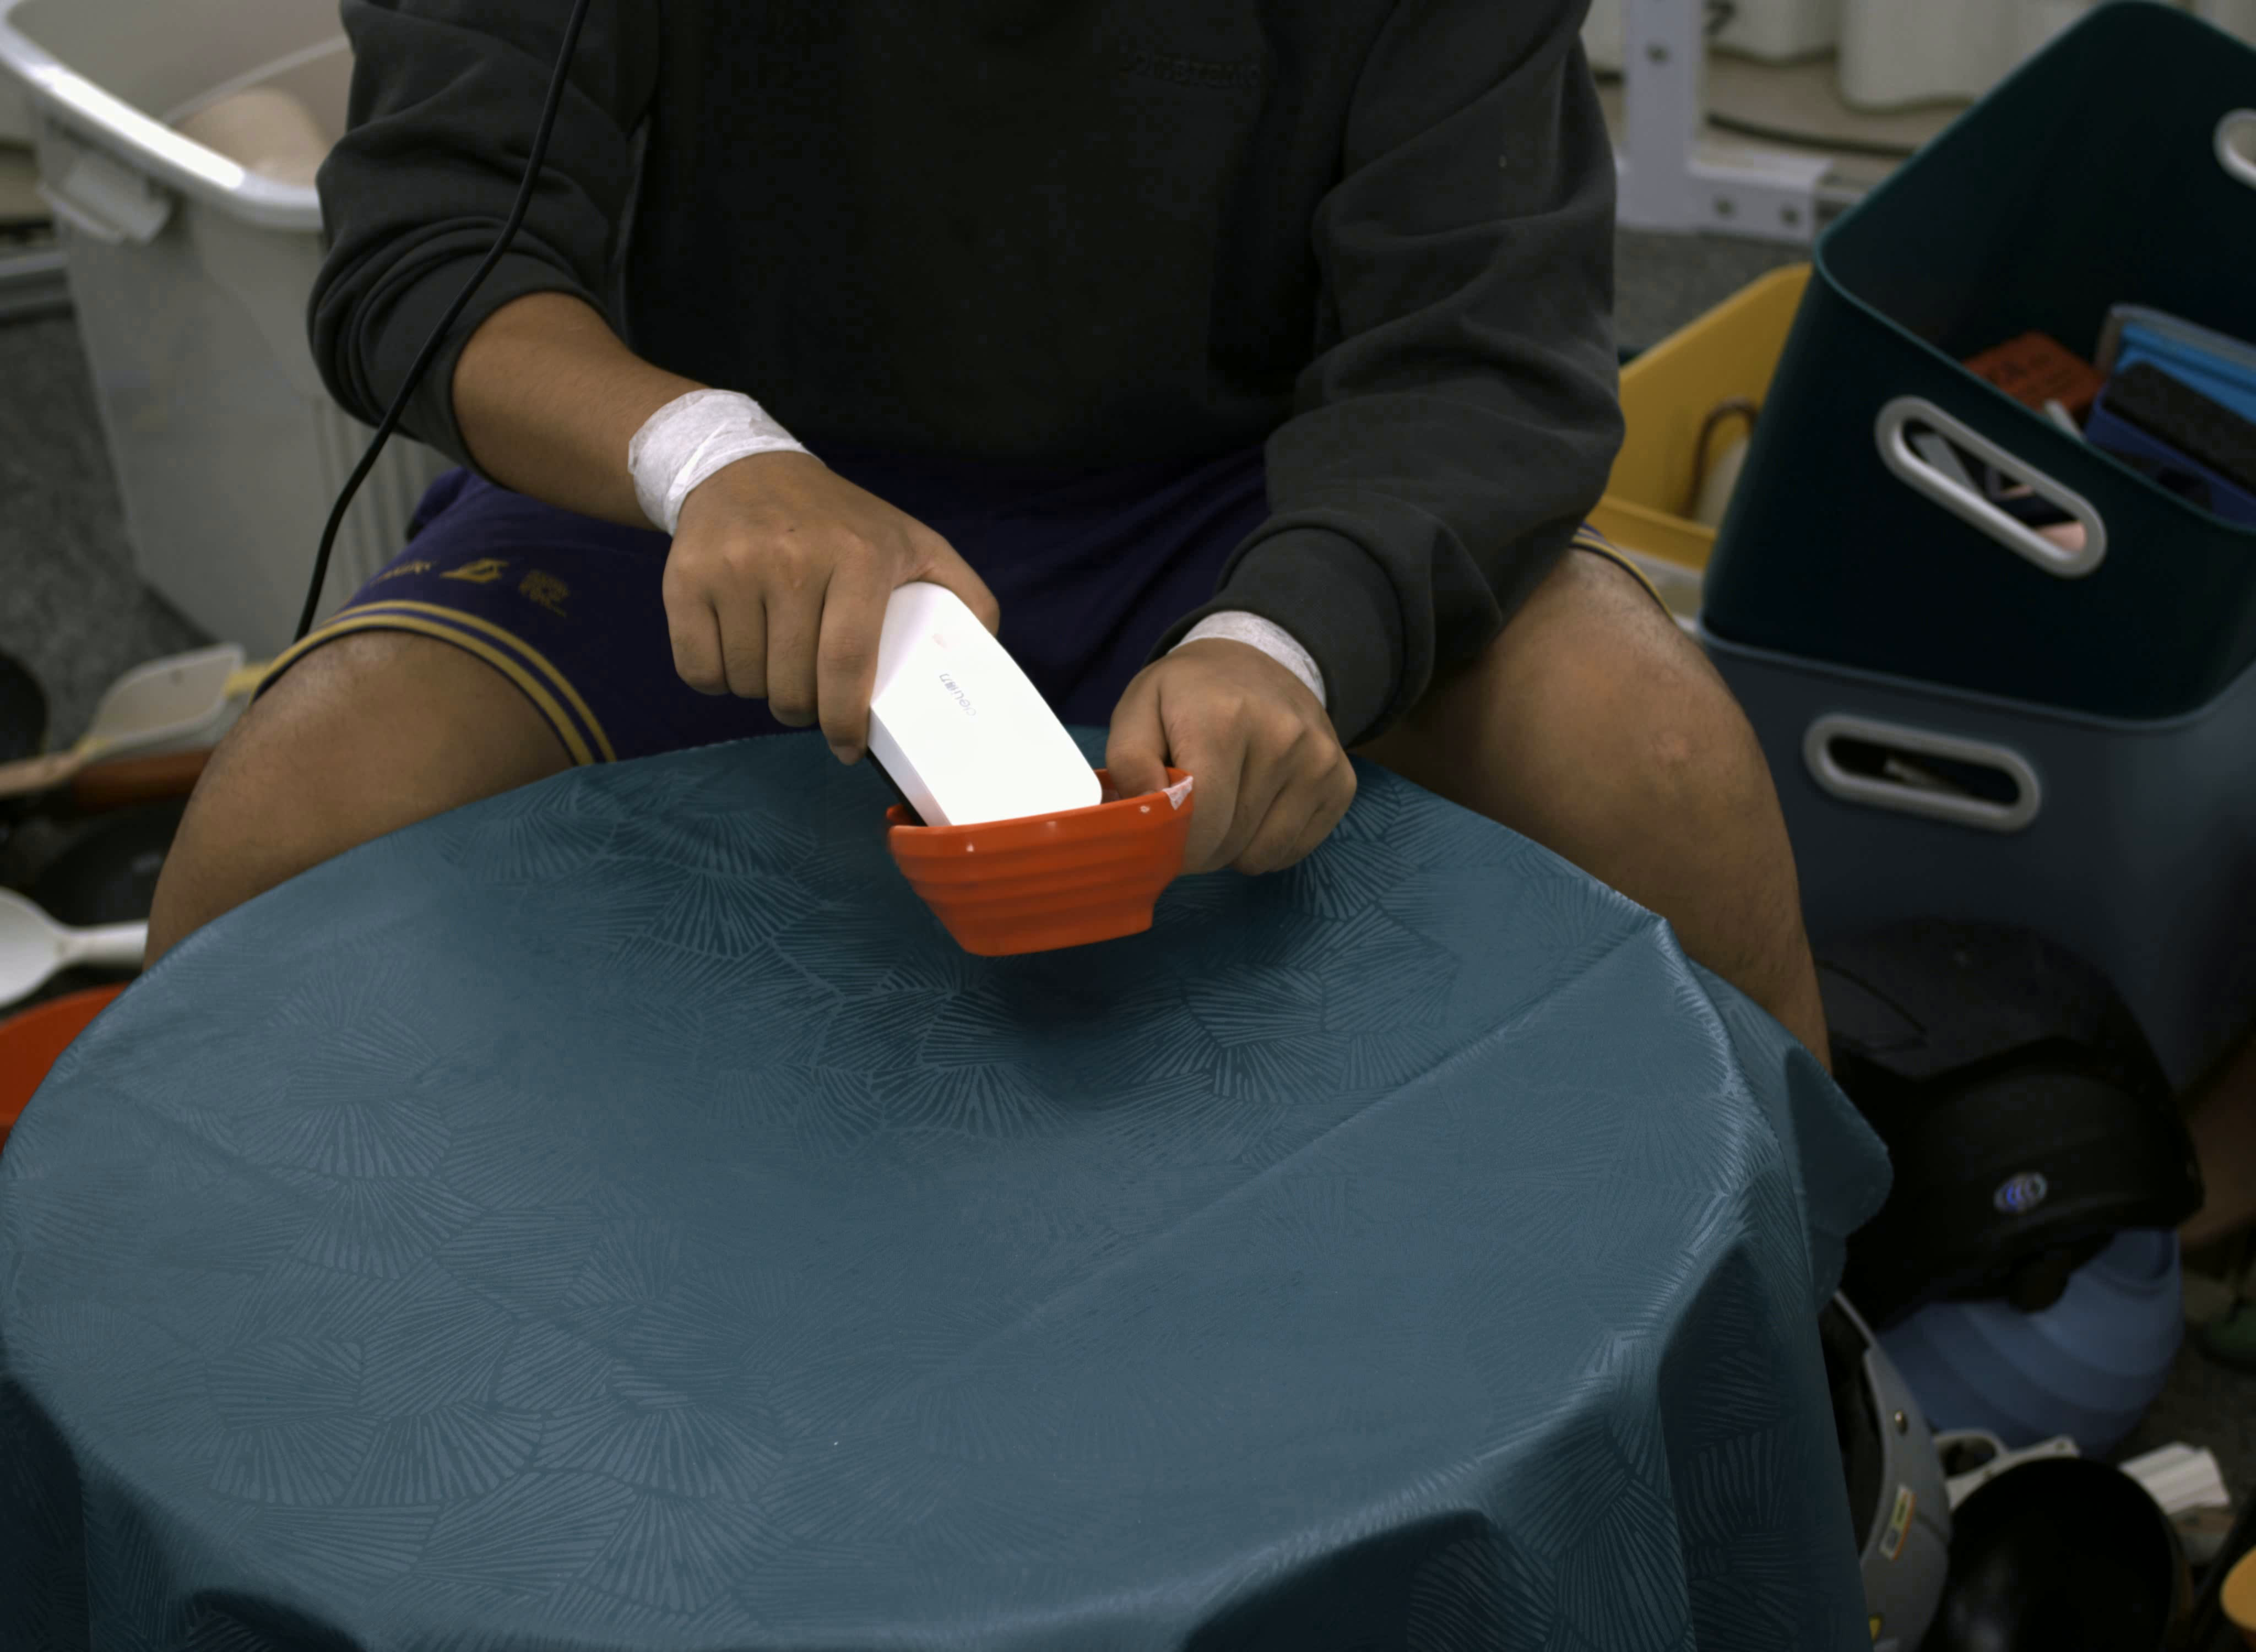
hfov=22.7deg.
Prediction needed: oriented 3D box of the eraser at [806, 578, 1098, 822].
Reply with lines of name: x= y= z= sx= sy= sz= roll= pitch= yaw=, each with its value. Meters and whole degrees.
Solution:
eraser: x=-0.063 y=-0.037 z=2.001 sx=0.064 sy=0.034 sz=0.133 roll=-14 pitch=51 yaw=-28

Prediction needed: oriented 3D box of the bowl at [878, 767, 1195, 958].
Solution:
bowl: x=-0.029 y=0.014 z=1.958 sx=0.118 sy=0.051 sz=0.119 roll=-9 pitch=6 yaw=1
